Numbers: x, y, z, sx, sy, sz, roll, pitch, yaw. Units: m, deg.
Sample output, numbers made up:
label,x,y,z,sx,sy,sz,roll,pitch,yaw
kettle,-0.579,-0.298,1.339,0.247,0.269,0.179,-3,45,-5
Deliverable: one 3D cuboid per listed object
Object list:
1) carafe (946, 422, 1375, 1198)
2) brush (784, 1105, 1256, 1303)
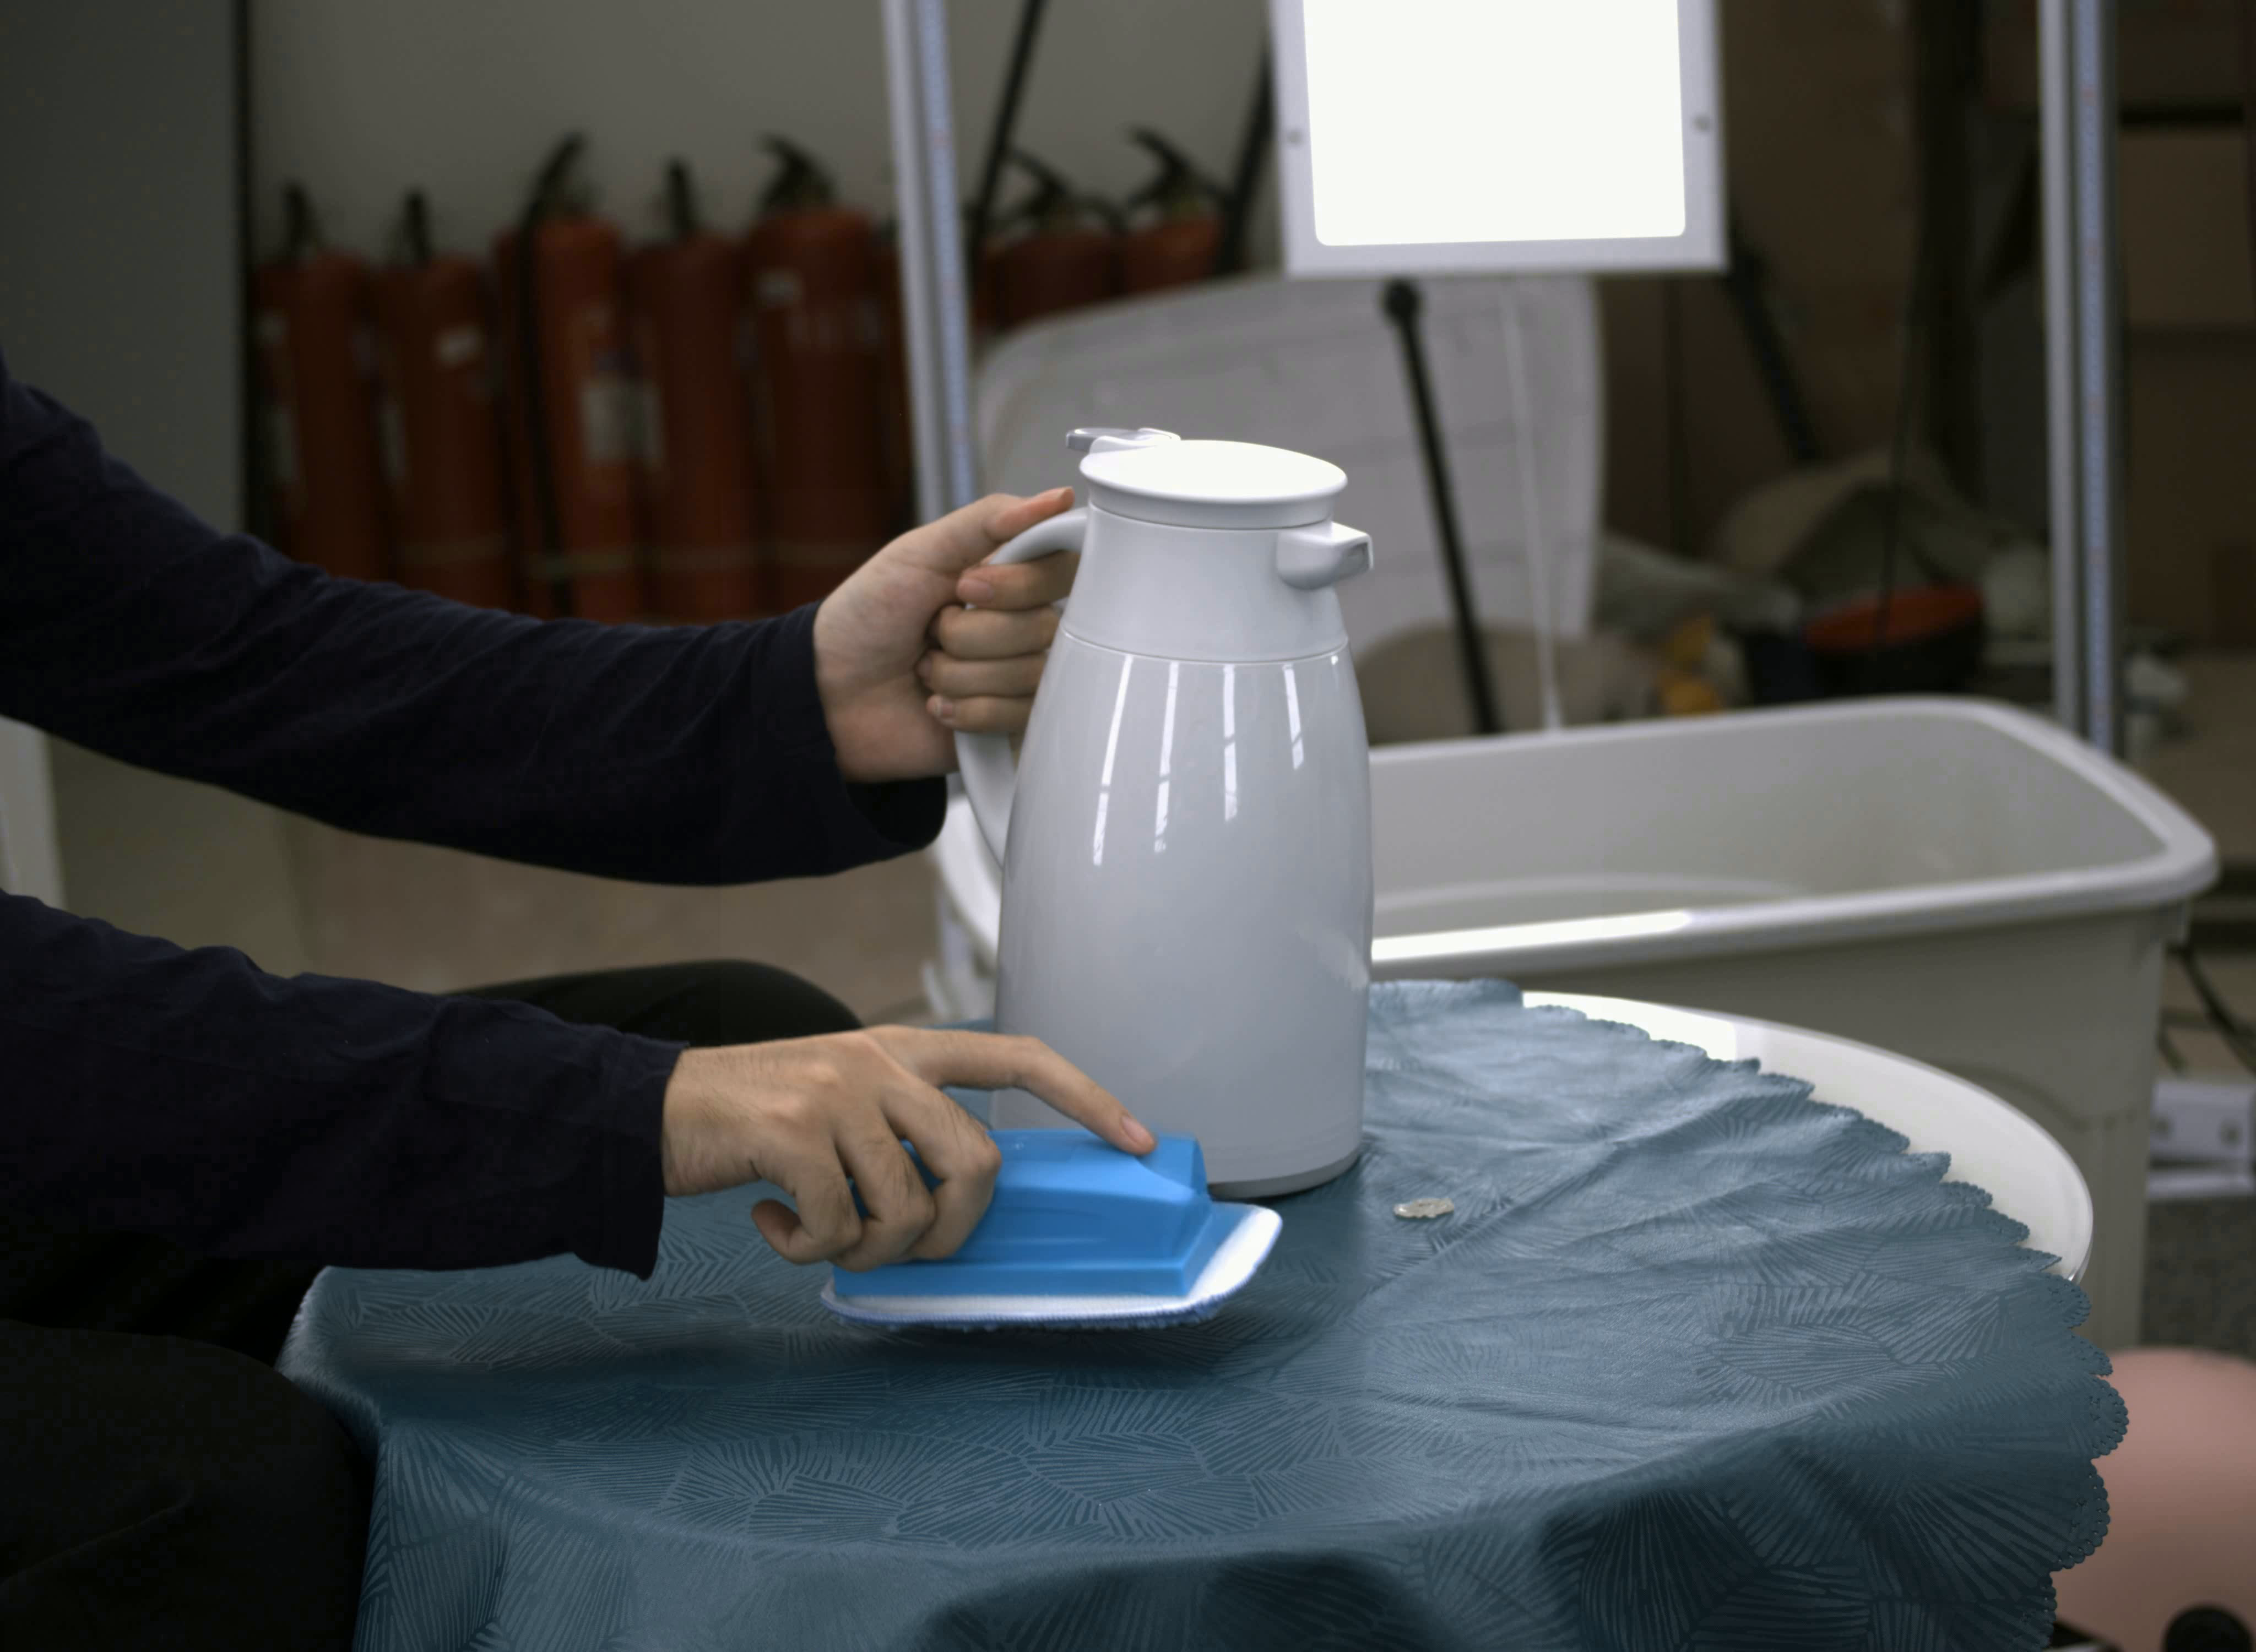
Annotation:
label,x,y,z,sx,sy,sz,roll,pitch,yaw
carafe,0.006,-0.013,1.903,0.171,0.250,0.129,13,18,36
brush,-0.036,0.119,1.747,0.146,0.056,0.082,0,20,25
